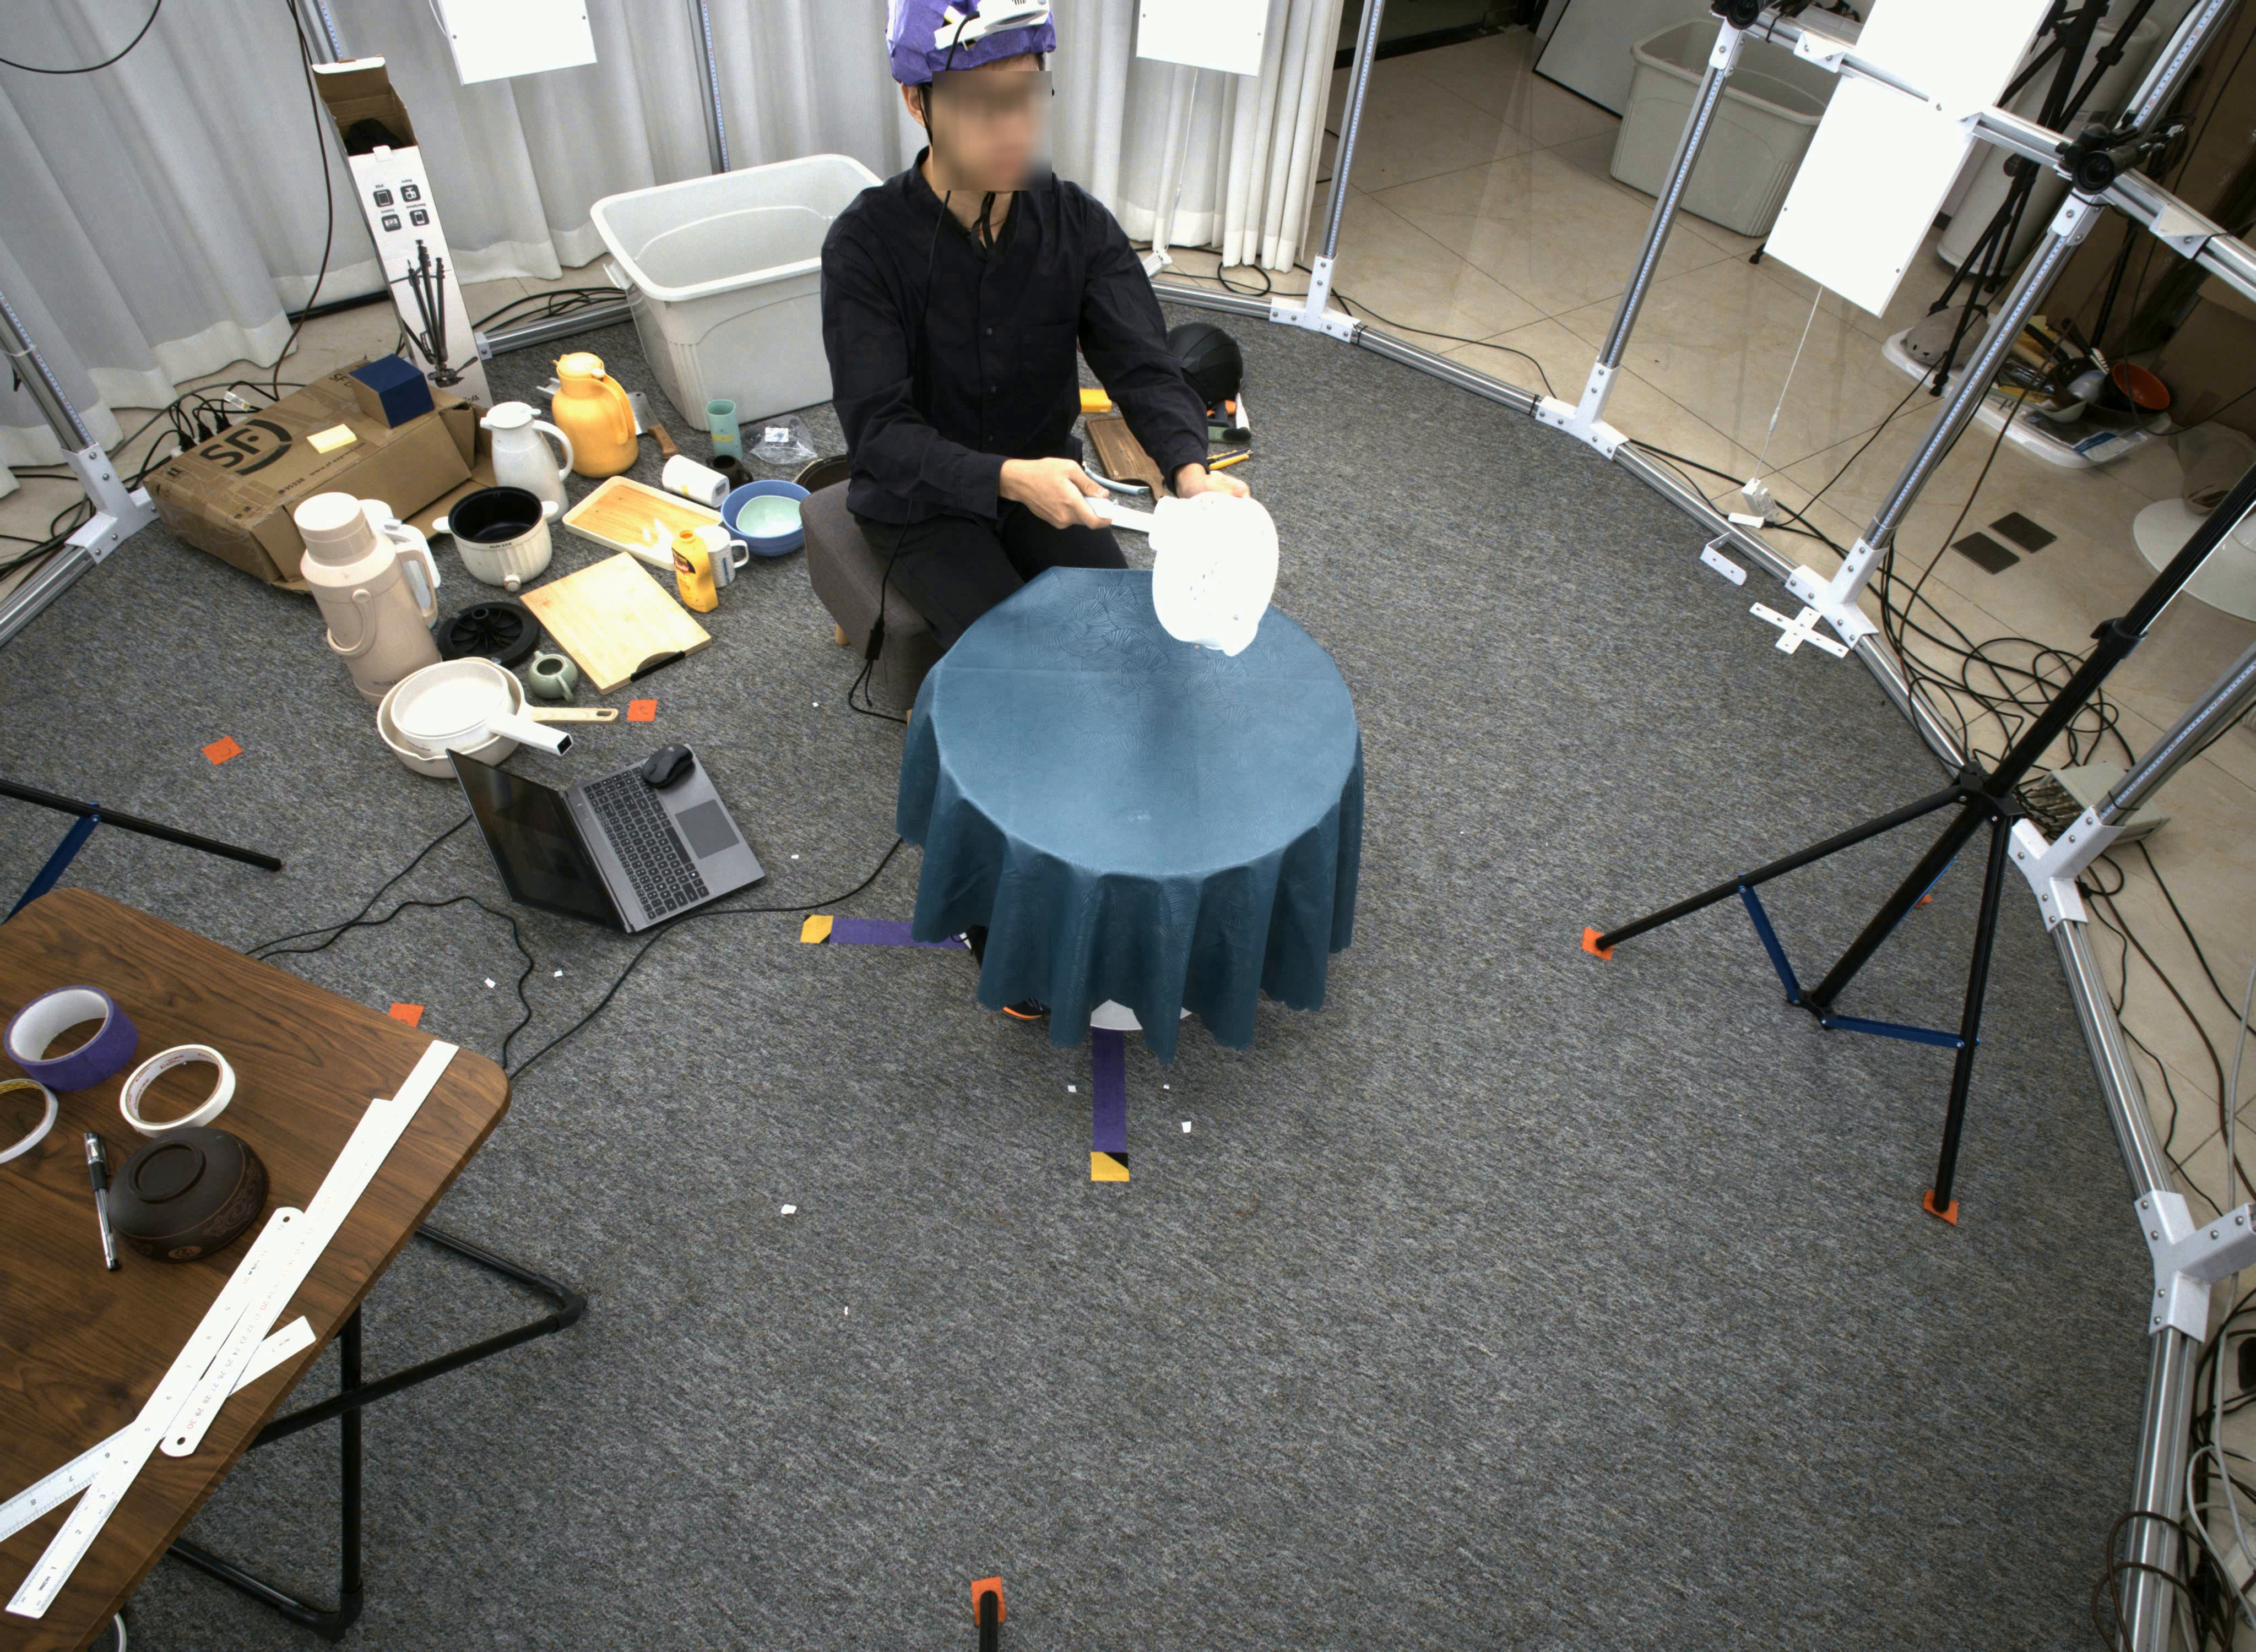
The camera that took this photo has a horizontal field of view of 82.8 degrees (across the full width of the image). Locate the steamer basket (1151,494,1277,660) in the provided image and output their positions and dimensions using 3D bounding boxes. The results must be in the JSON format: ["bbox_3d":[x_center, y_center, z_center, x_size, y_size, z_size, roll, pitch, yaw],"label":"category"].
[{"bbox_3d":[0.105,-0.328,1.666,0.069,0.199,0.235,6,63,-32],"label":"steamer basket"}]

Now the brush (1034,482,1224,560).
[{"bbox_3d":[0.008,-0.411,1.687,0.330,0.082,0.084,27,74,40],"label":"brush"}]
